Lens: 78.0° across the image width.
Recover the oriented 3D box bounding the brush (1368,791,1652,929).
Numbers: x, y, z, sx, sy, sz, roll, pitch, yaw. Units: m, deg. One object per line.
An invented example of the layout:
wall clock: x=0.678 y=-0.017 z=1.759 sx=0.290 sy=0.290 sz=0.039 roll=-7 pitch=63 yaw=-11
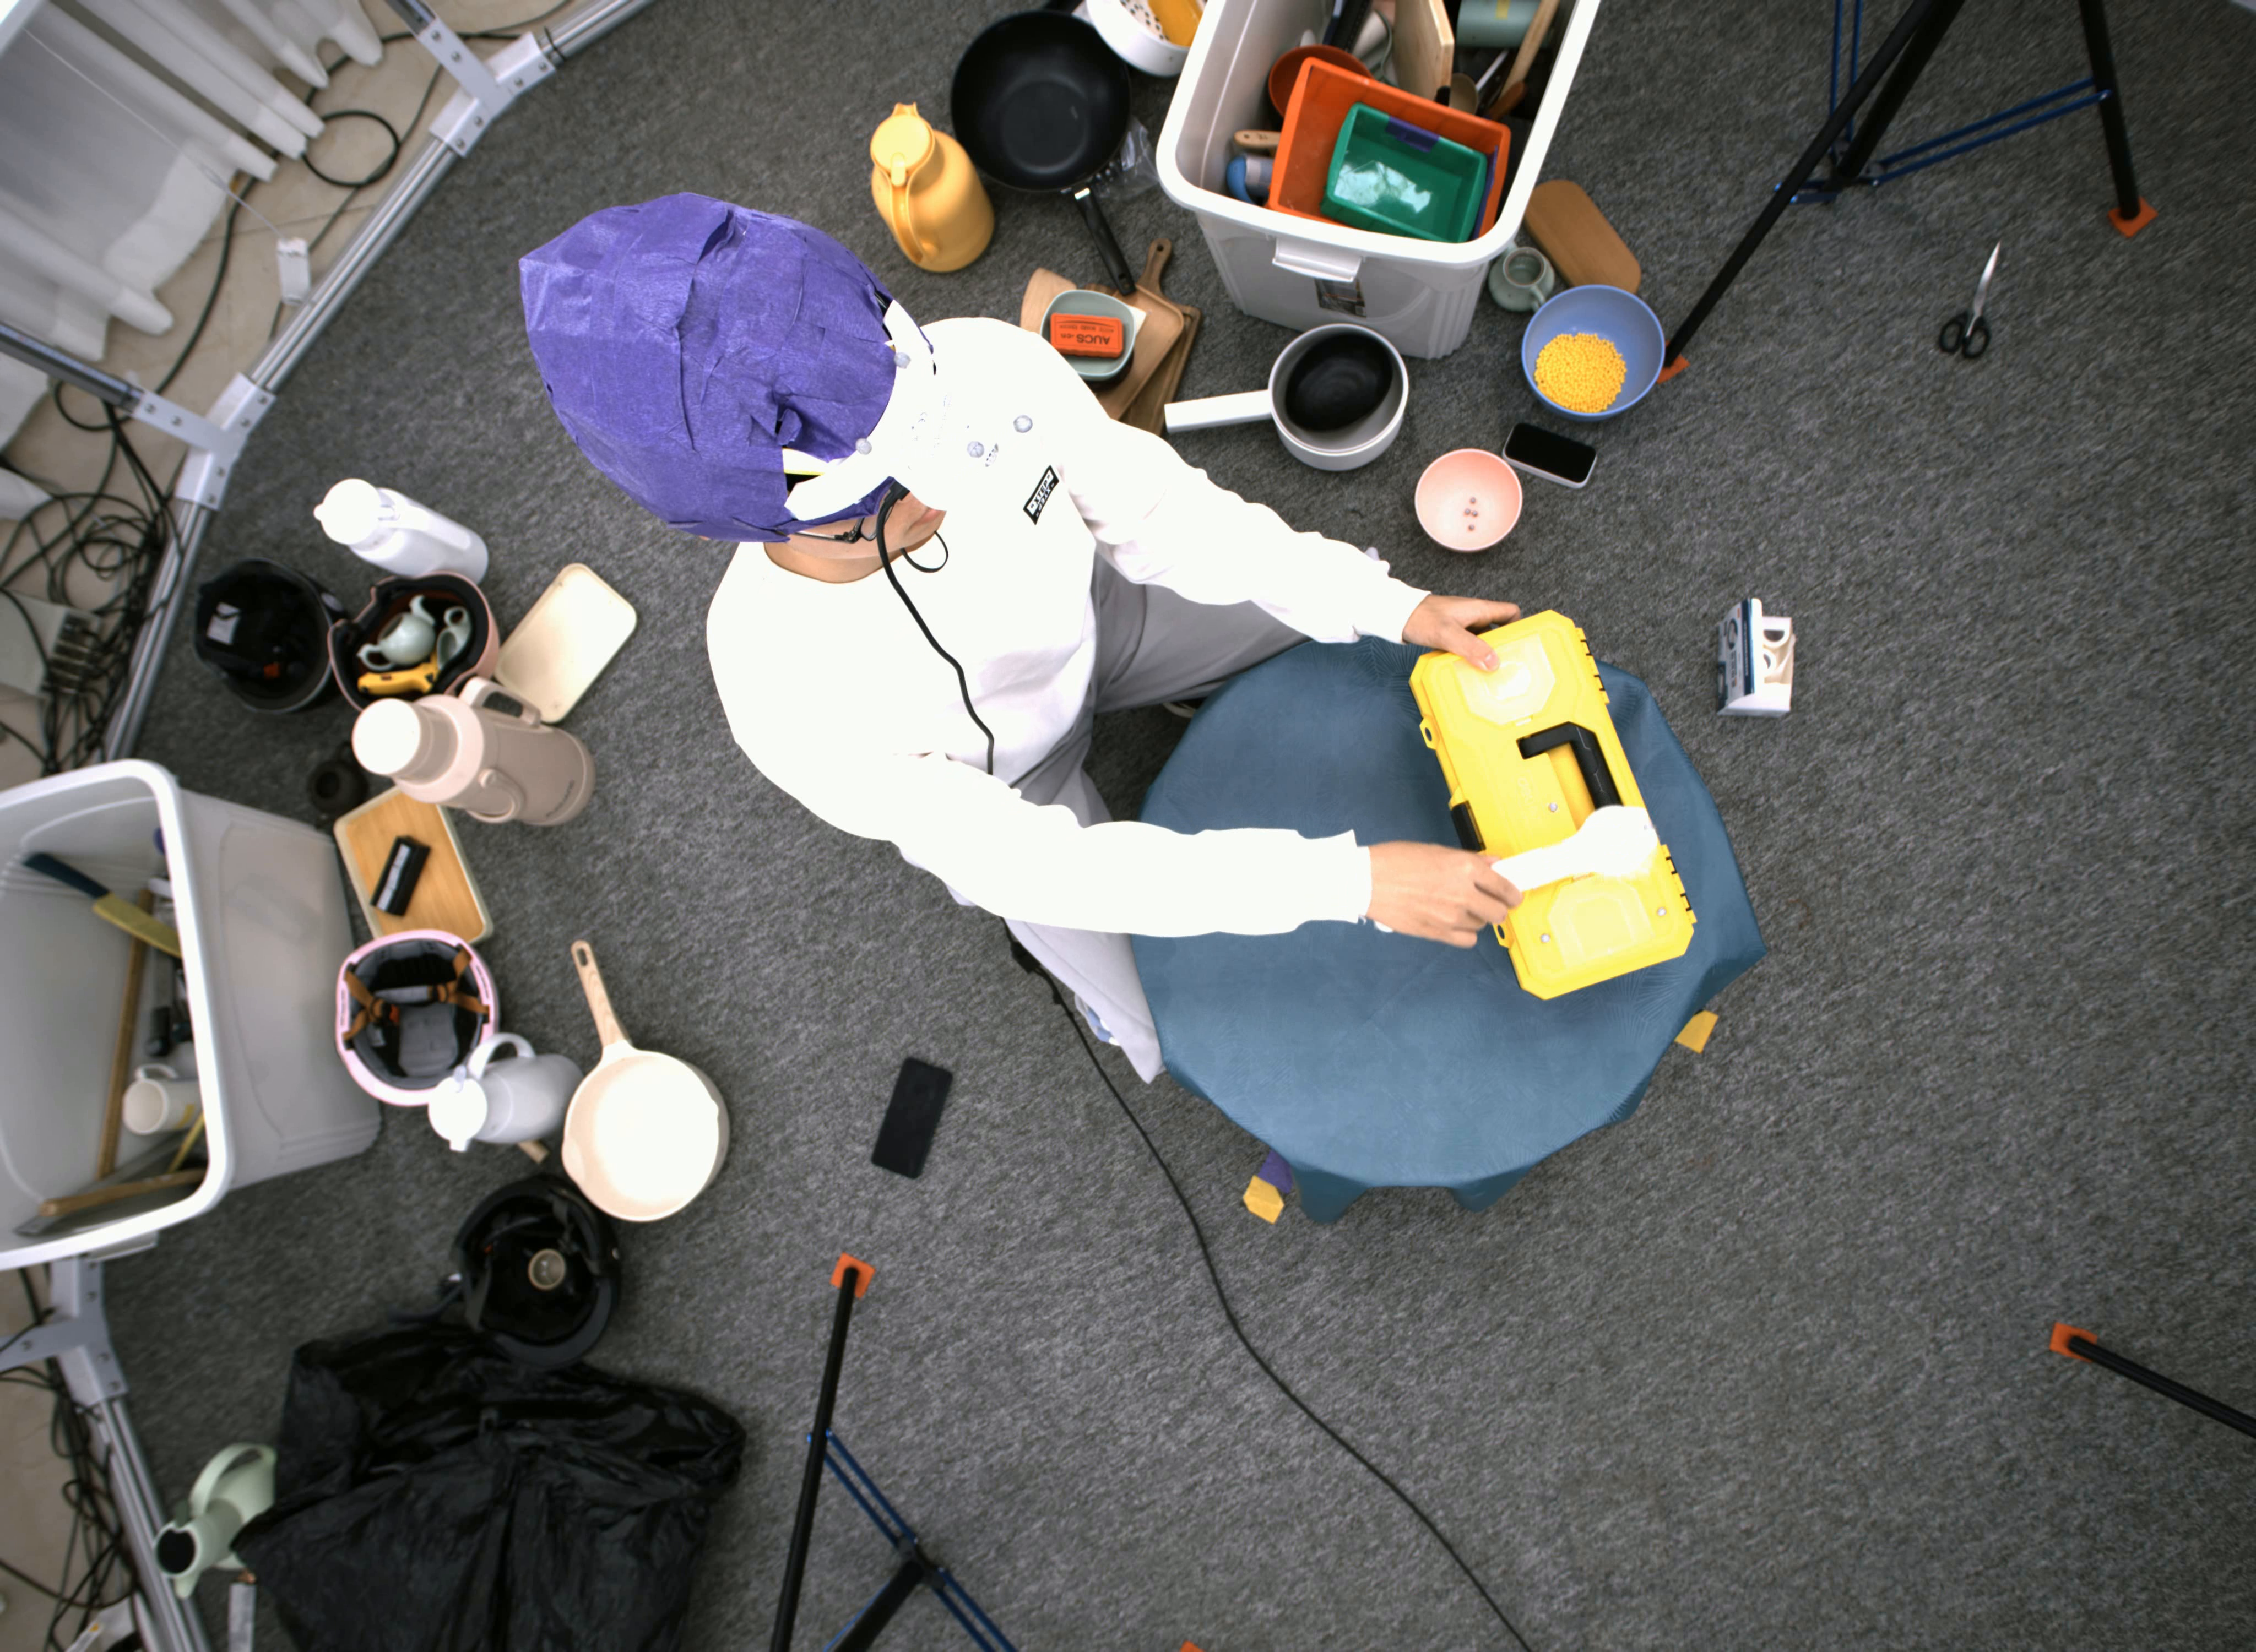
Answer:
brush: x=0.344 y=0.035 z=1.245 sx=0.268 sy=0.056 sz=0.067 roll=-24 pitch=70 yaw=9

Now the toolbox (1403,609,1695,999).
toolbox: x=0.406 y=-0.019 z=1.350 sx=0.182 sy=0.173 sz=0.349 roll=-19 pitch=83 yaw=7
